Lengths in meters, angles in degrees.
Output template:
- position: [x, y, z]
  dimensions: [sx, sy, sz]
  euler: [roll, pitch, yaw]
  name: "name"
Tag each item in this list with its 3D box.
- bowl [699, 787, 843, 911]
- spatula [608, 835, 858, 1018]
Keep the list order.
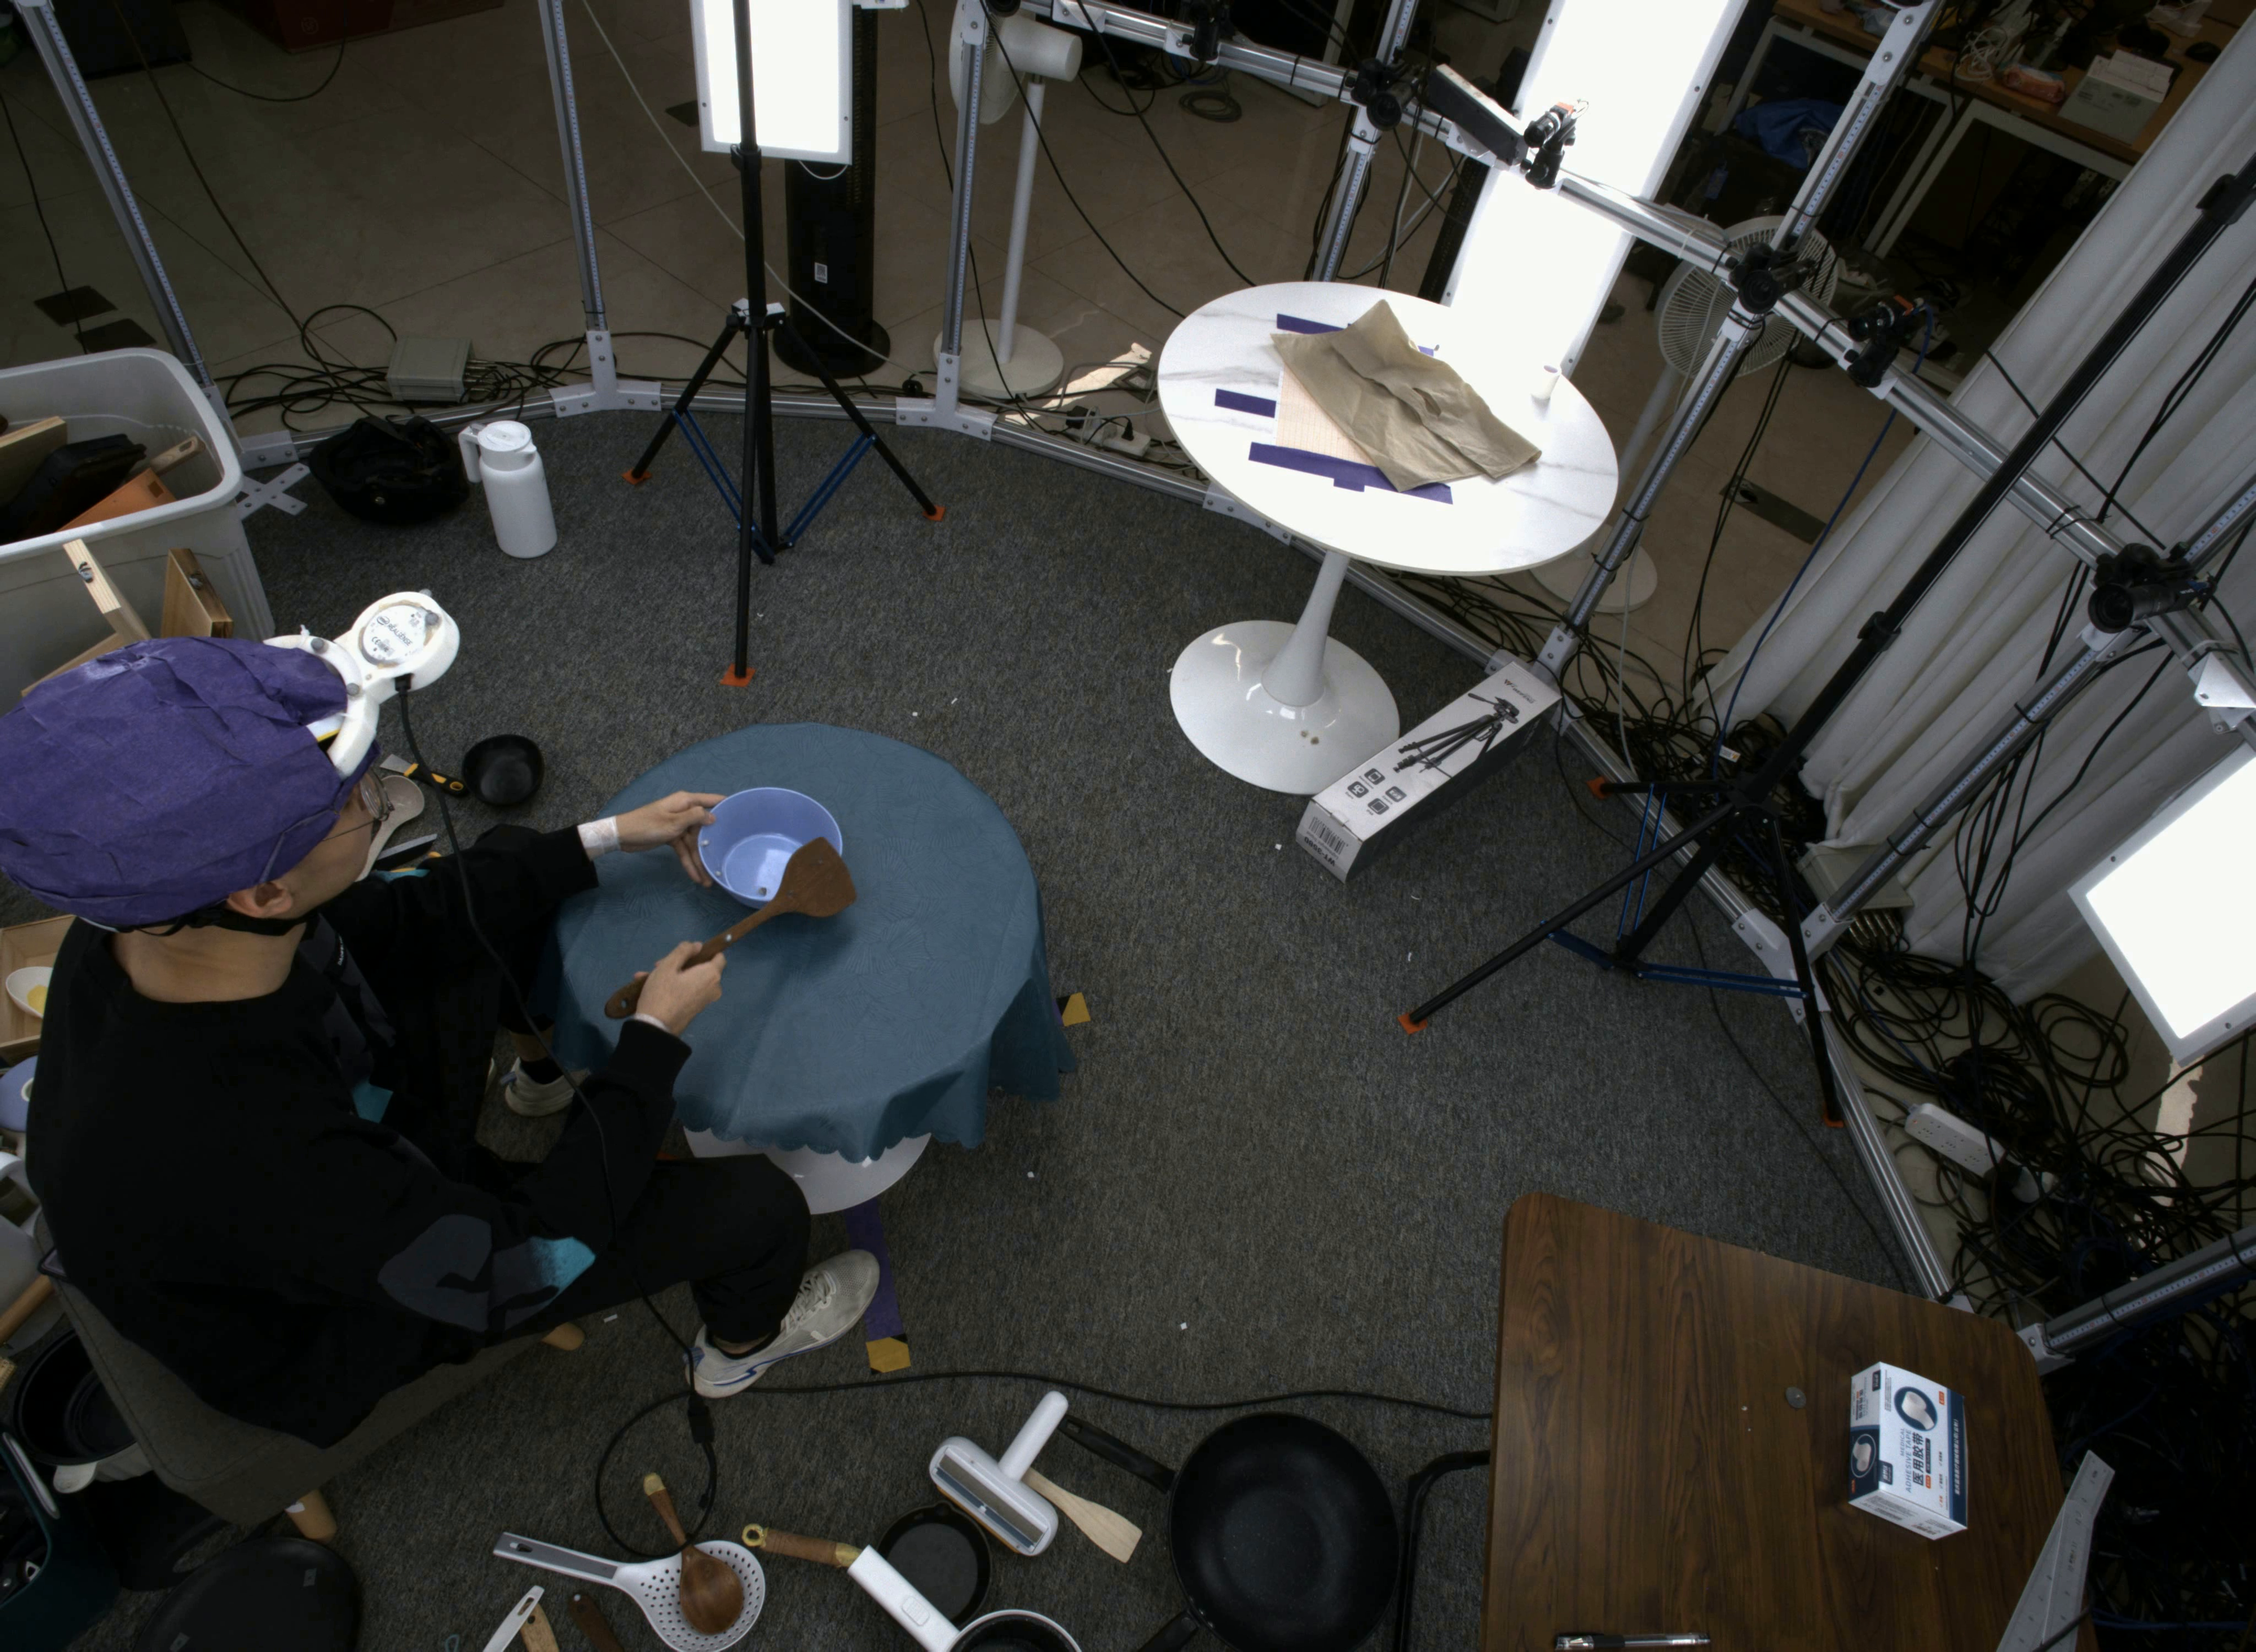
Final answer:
- position: [-0.451, 0.039, 1.639]
  dimensions: [0.176, 0.071, 0.173]
  euler: [9, 52, -10]
  name: "bowl"
- position: [-0.446, 0.117, 1.474]
  dimensions: [0.386, 0.015, 0.098]
  euler: [-39, 107, -54]
  name: "spatula"
